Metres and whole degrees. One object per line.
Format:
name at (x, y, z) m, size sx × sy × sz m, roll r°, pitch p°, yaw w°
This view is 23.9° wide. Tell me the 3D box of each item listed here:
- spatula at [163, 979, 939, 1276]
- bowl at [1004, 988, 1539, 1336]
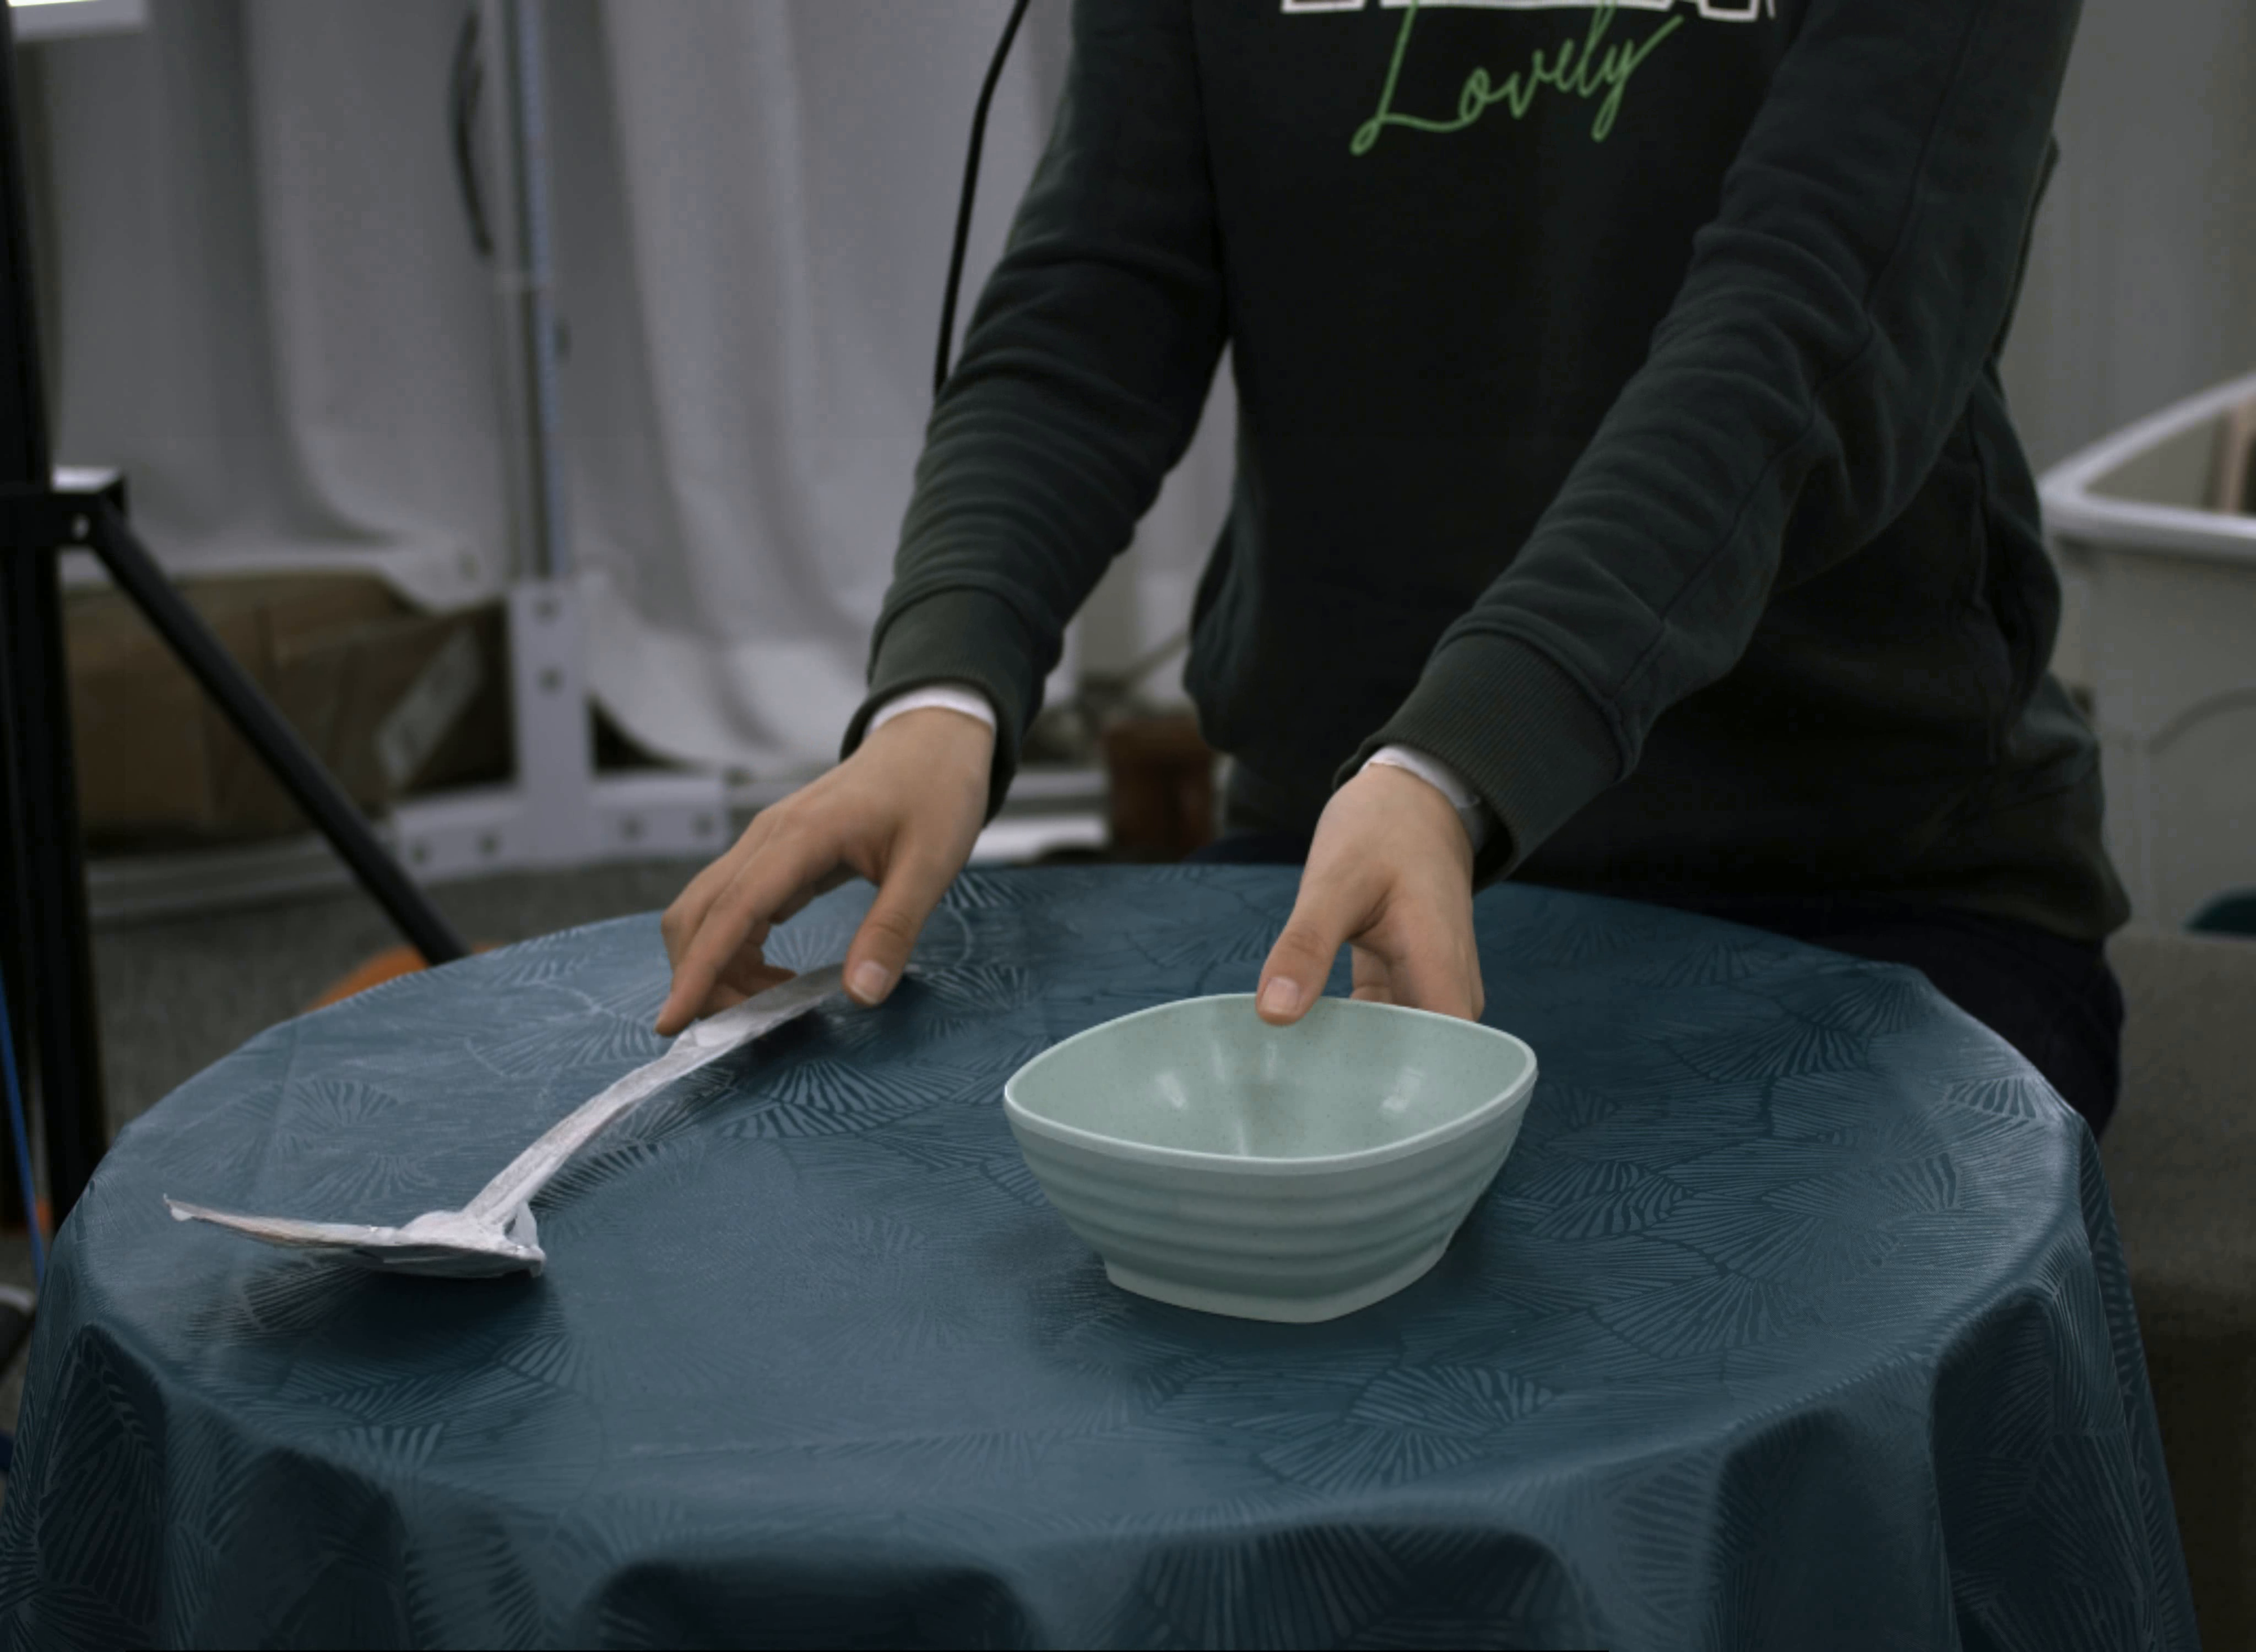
spatula at (-0.152, 0.081, 1.608) m, size 0.100 × 0.045 × 0.359 m, roll 3°, pitch 17°, yaw 26°
bowl at (0.041, 0.098, 1.489) m, size 0.150 × 0.058 × 0.152 m, roll -1°, pitch 18°, yaw -1°
